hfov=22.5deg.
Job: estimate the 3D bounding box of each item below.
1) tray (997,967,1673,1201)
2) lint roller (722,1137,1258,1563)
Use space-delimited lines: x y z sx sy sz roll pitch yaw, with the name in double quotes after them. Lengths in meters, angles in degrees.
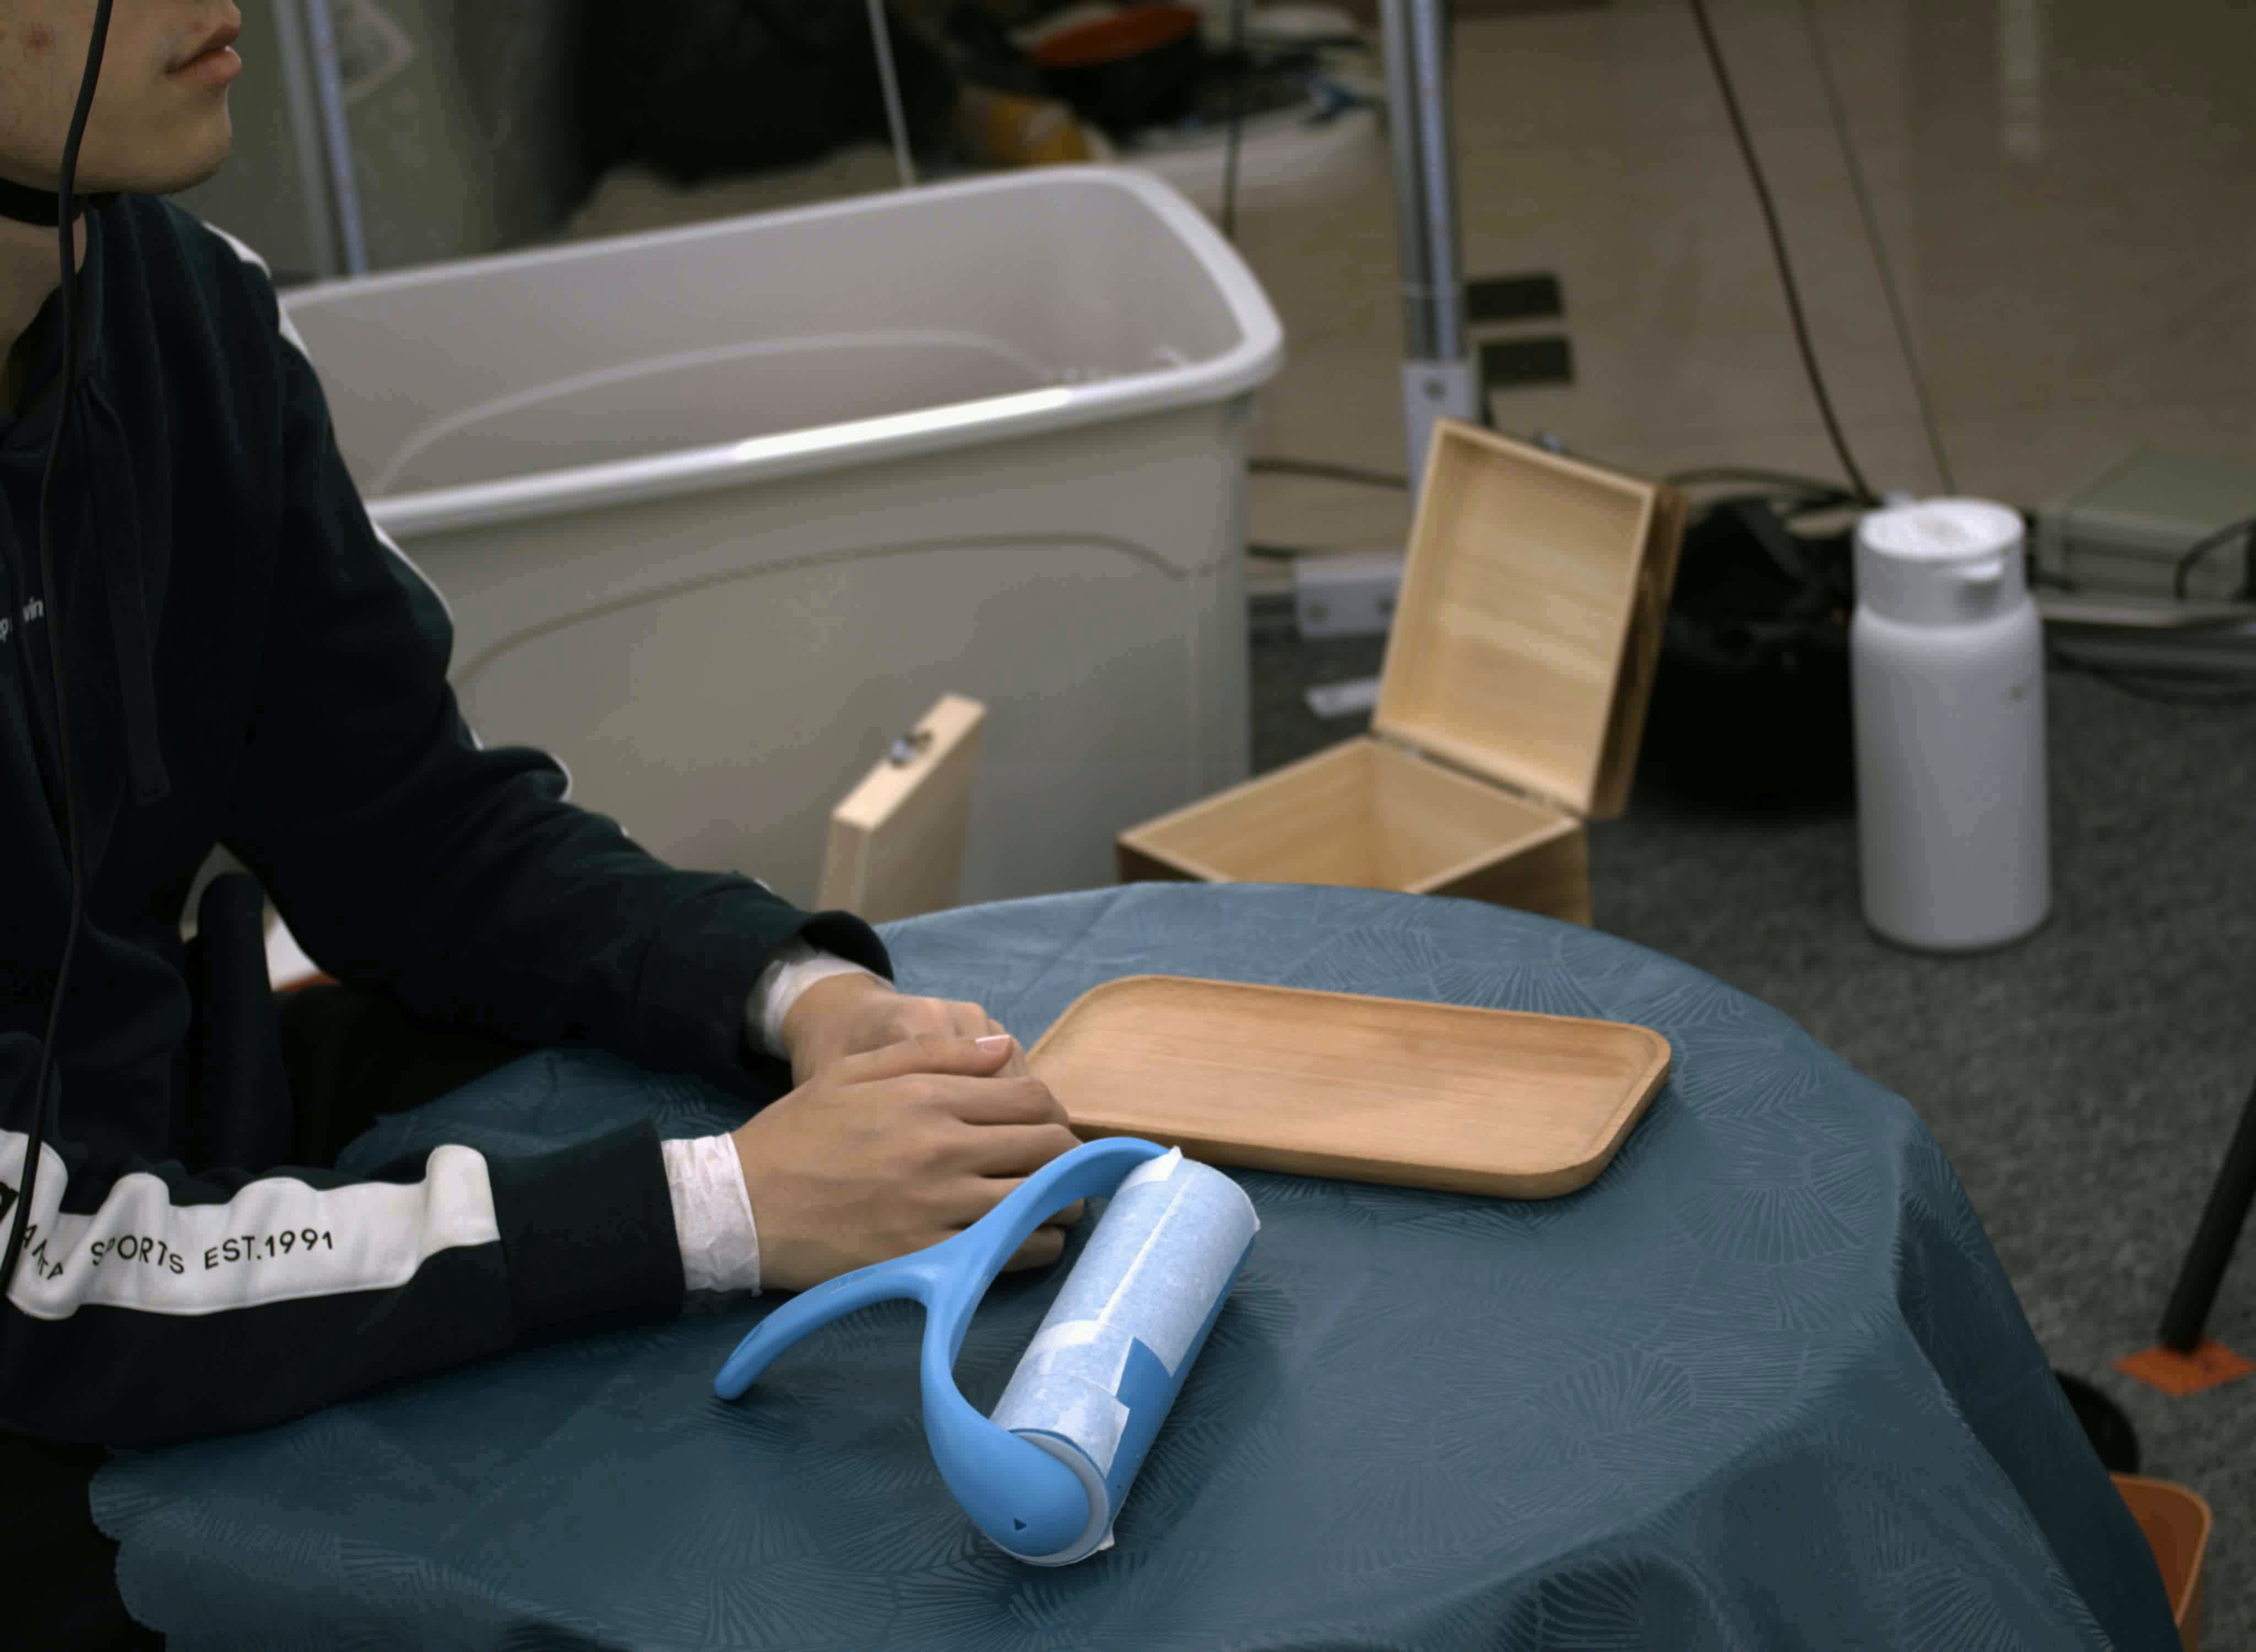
0.079 0.099 2.190 0.250 0.023 0.129 5 25 25 "tray"
-0.061 0.181 1.999 0.180 0.069 0.225 1 28 14 "lint roller"
